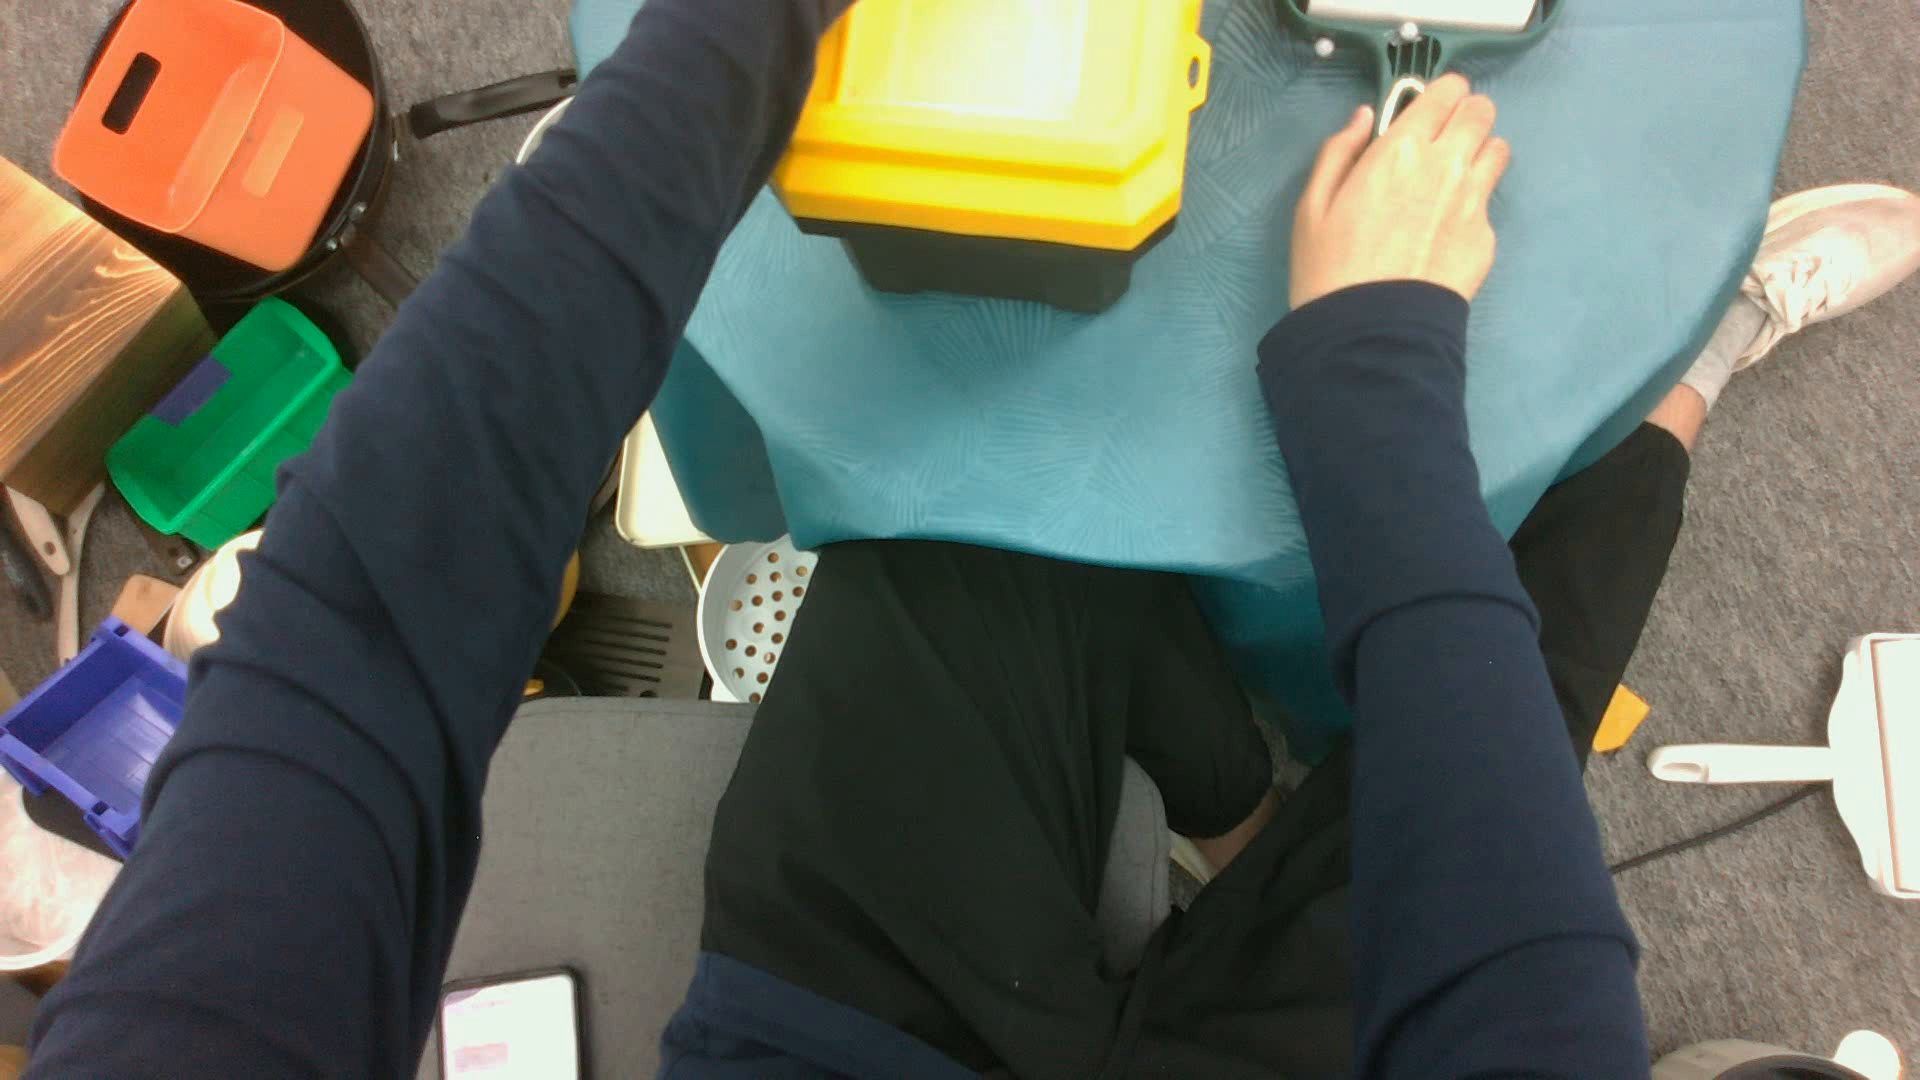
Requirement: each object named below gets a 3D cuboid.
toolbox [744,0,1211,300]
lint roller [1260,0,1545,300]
[{"bbox_3d":[0.024,-0.287,0.601,0.181,0.172,0.352,7,80,5],"label":"toolbox"},{"bbox_3d":[0.200,-0.204,0.637,0.134,0.048,0.180,6,79,4],"label":"lint roller"}]
